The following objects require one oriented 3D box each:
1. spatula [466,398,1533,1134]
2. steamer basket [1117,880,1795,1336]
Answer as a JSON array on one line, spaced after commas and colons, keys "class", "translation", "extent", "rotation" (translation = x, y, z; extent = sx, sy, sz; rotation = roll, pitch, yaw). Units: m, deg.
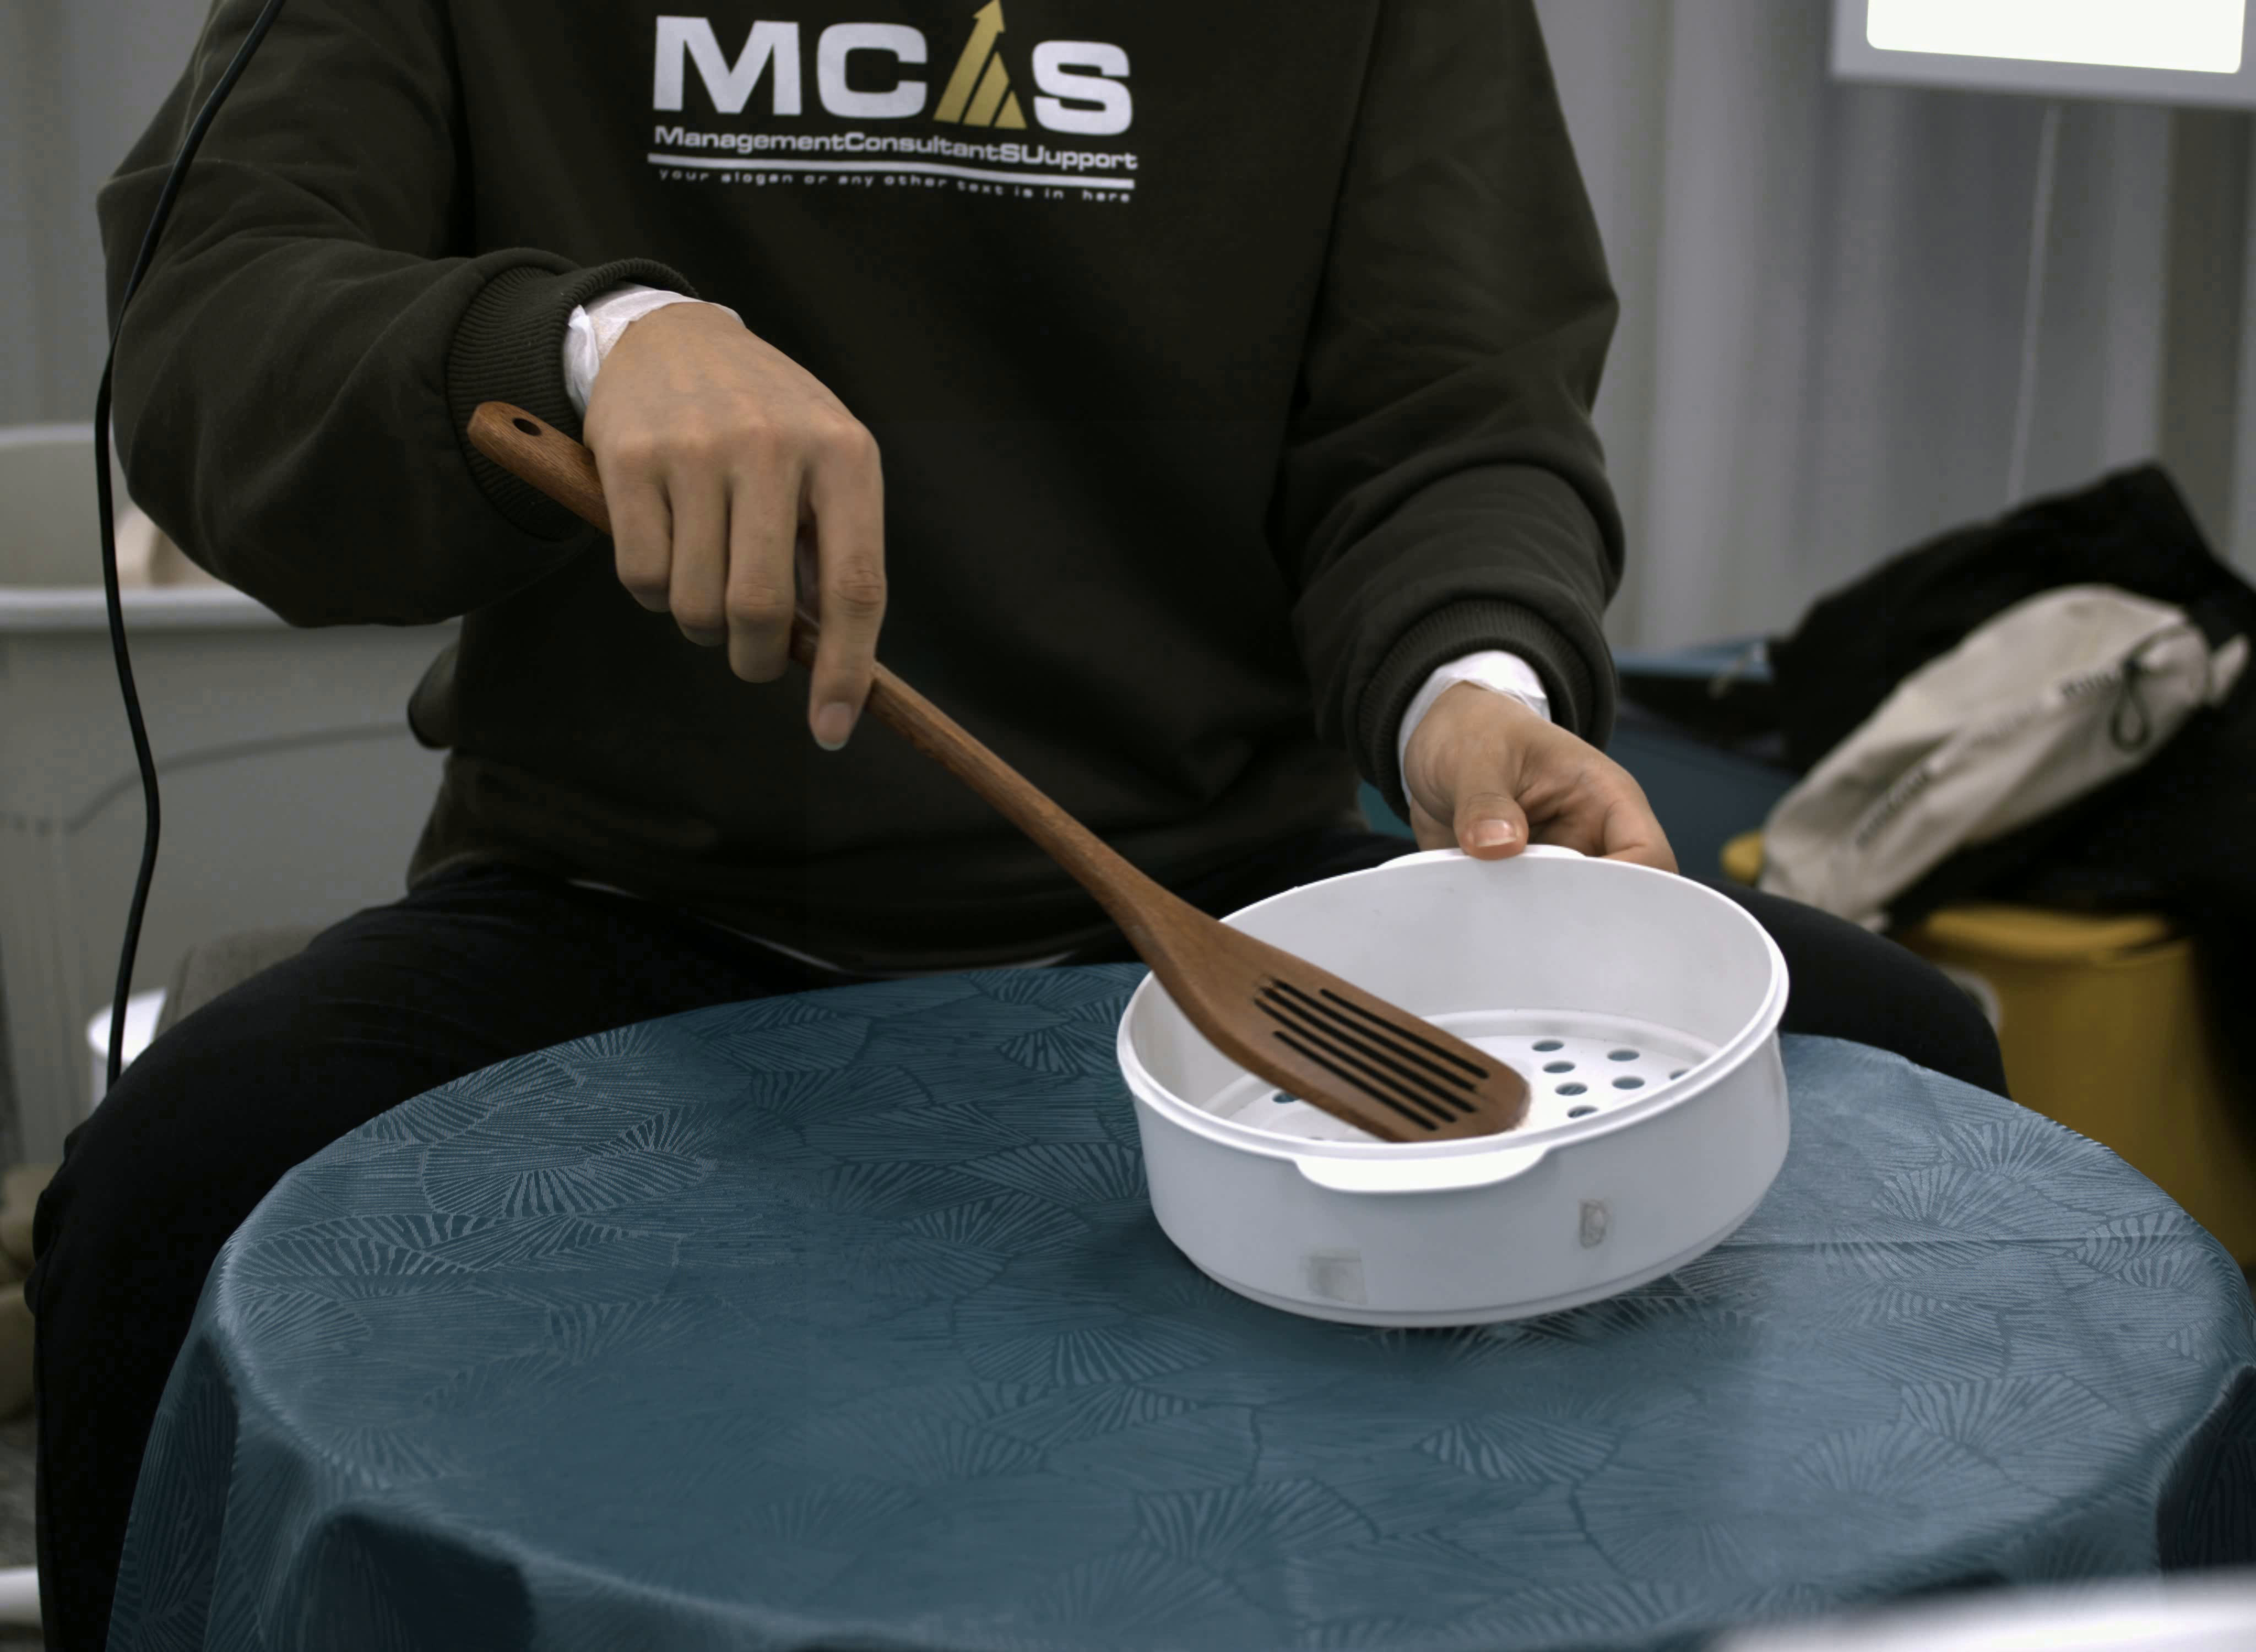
[{"class": "spatula", "translation": [-0.045, -0.014, 1.573], "extent": [0.383, 0.024, 0.086], "rotation": [36, 25, 7]}, {"class": "steamer basket", "translation": [0.099, 0.084, 1.570], "extent": [0.200, 0.070, 0.229], "rotation": [-2, 21, 10]}]
